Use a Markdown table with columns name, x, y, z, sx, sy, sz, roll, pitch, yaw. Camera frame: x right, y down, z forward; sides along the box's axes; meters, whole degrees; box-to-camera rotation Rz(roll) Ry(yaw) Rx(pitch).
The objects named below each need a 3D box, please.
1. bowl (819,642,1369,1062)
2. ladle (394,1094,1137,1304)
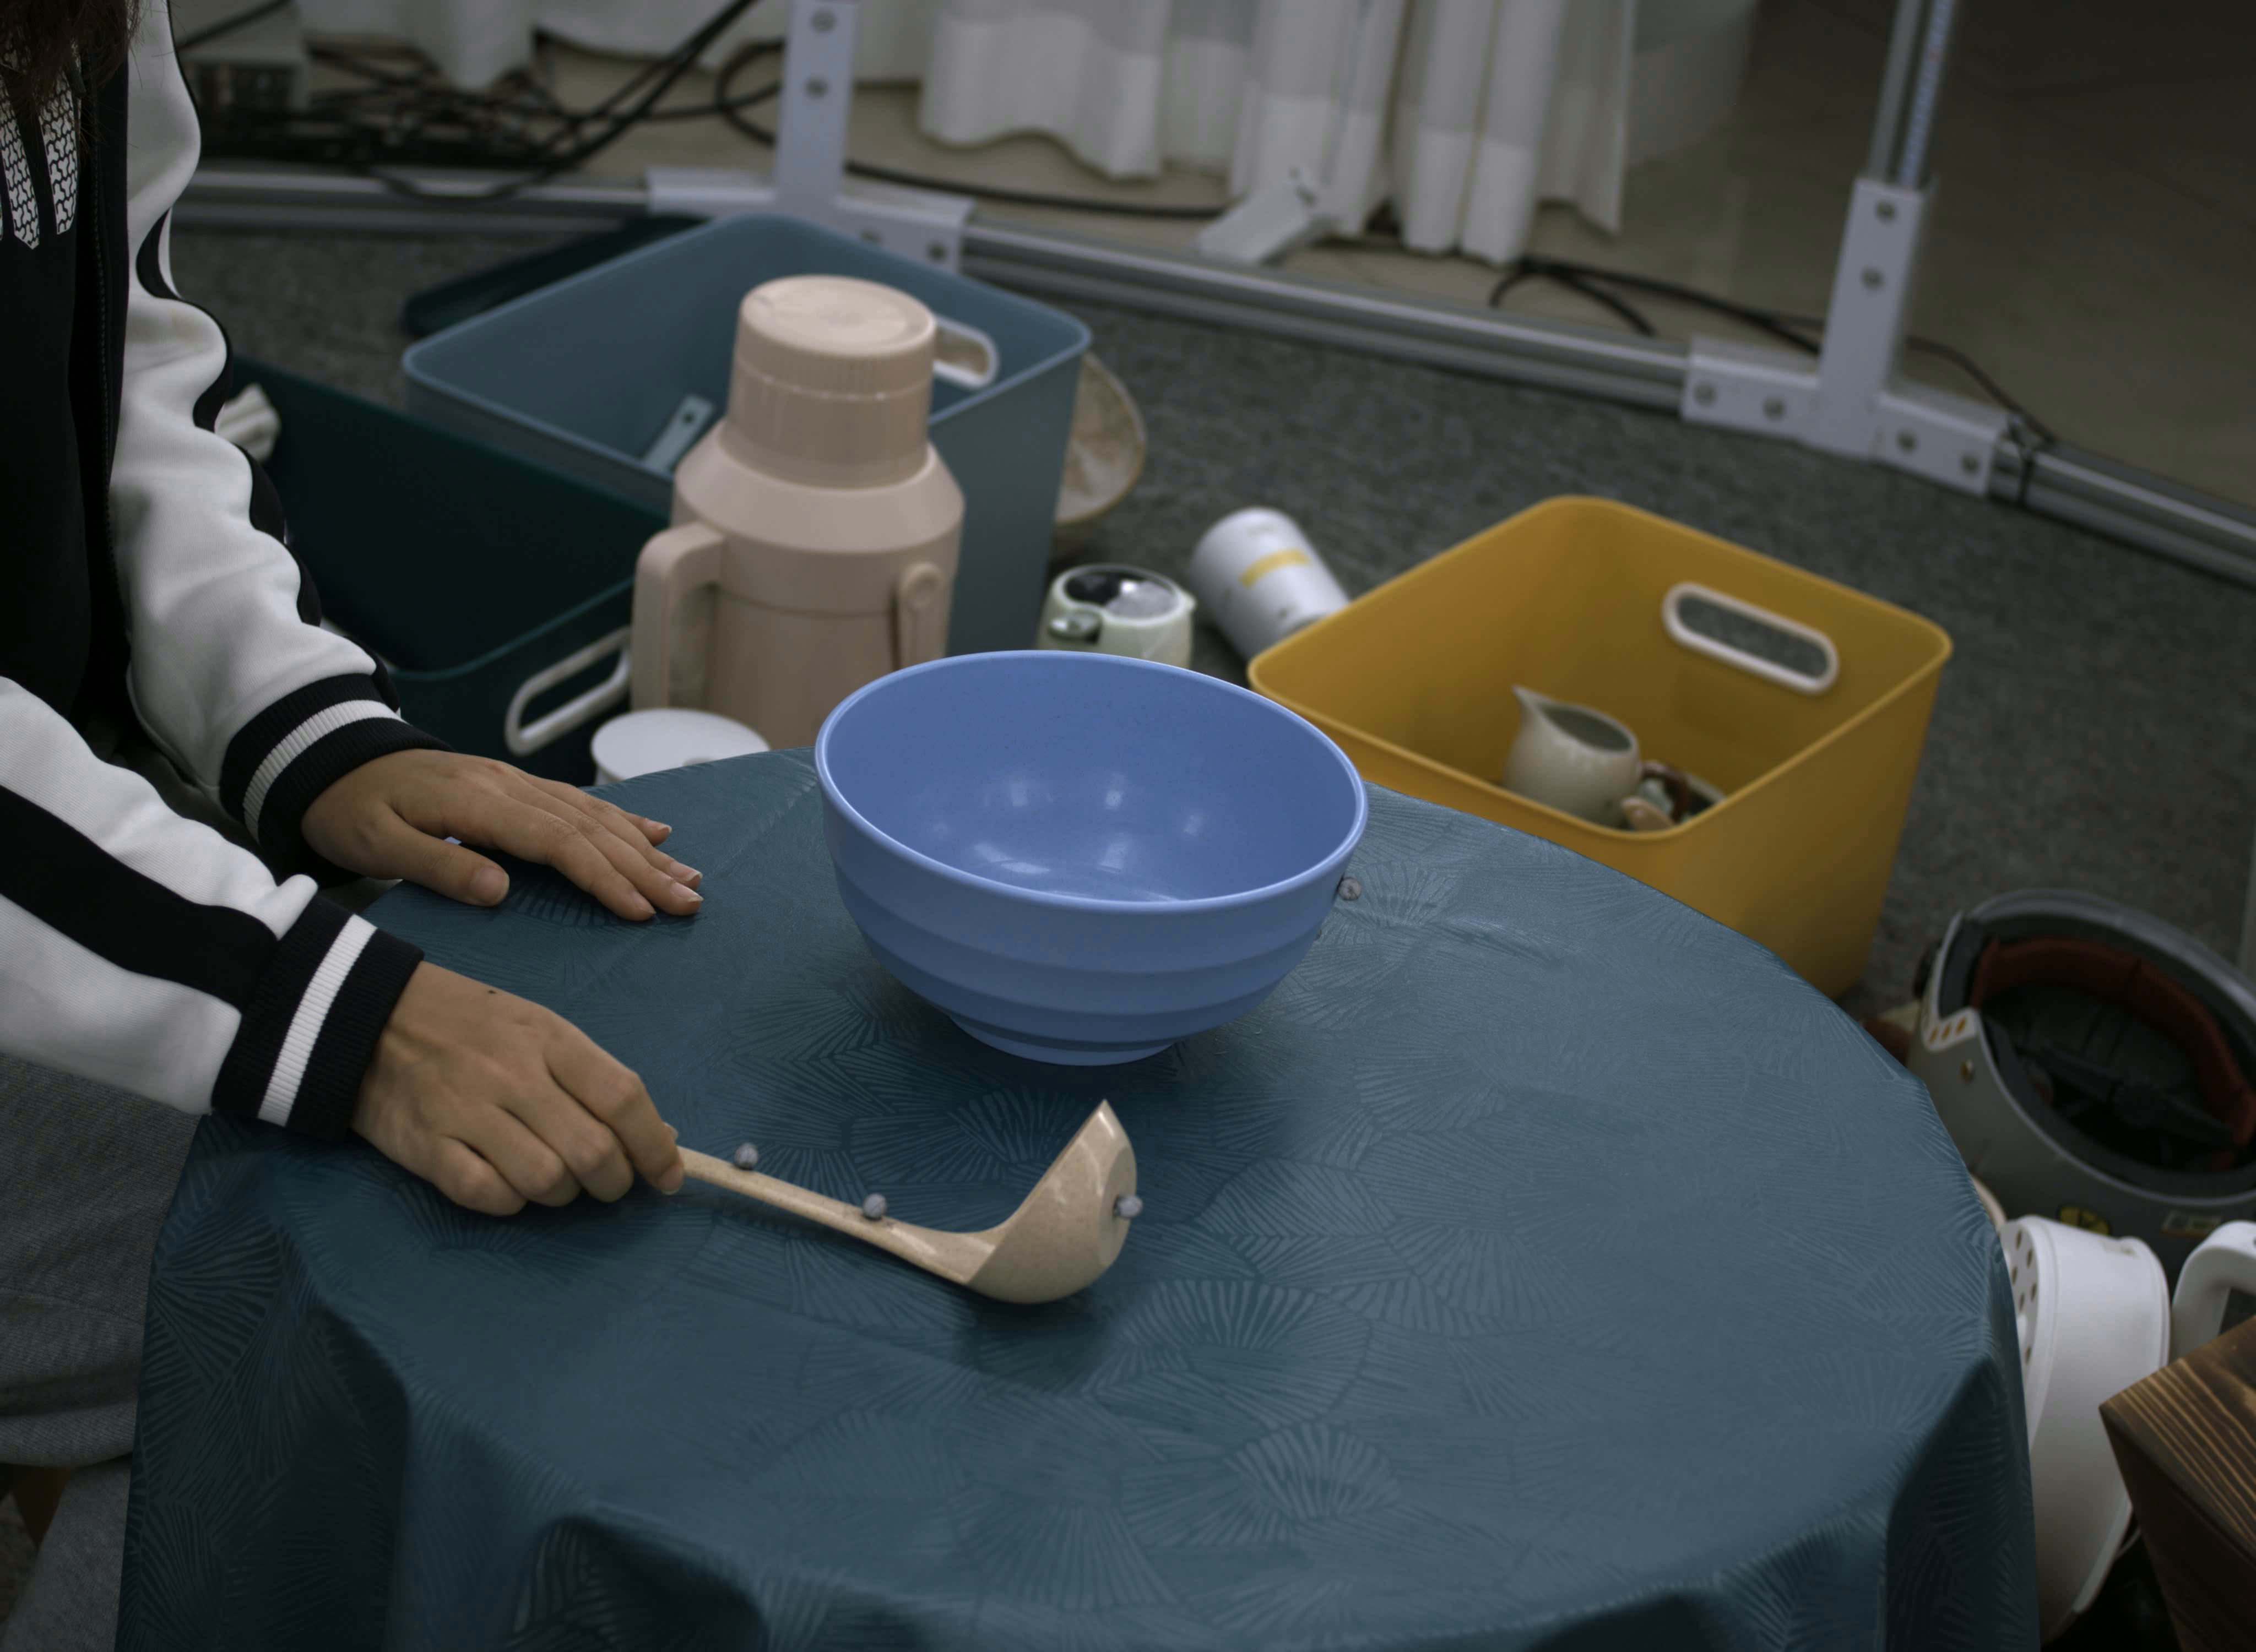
| name | x | y | z | sx | sy | sz | roll | pitch | yaw |
| --- | --- | --- | --- | --- | --- | --- | --- | --- | --- |
| bowl | -0.018 | 0.021 | 1.893 | 0.196 | 0.095 | 0.197 | 7 | 27 | -4 |
| ladle | -0.122 | 0.096 | 1.745 | 0.255 | 0.072 | 0.072 | 14 | 29 | 12 |
